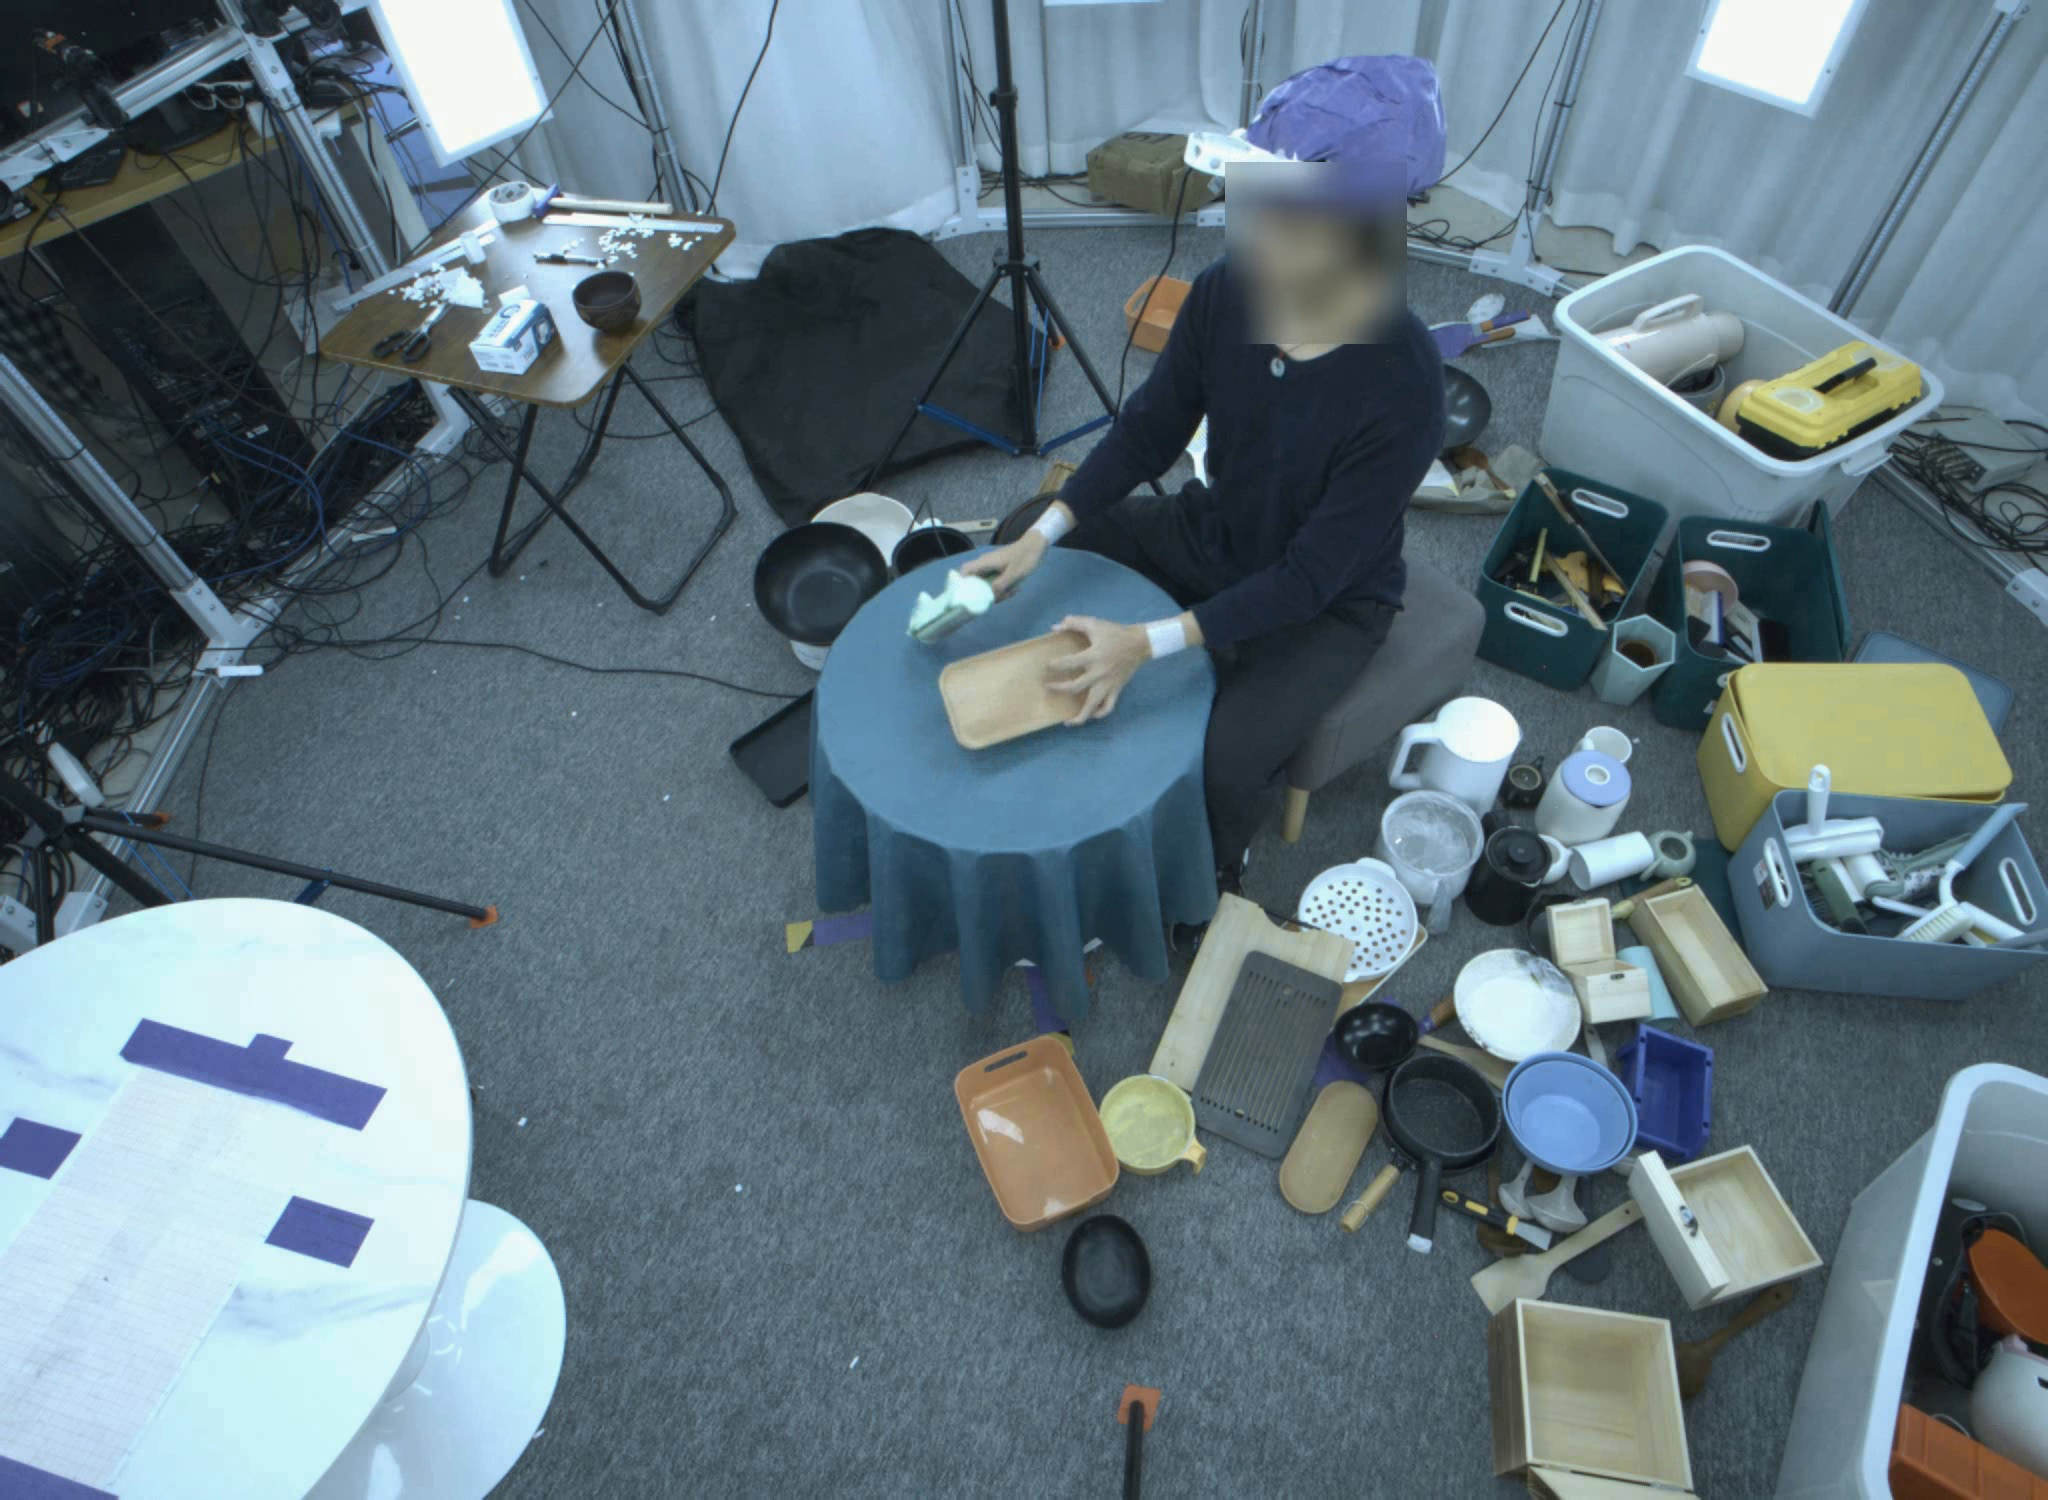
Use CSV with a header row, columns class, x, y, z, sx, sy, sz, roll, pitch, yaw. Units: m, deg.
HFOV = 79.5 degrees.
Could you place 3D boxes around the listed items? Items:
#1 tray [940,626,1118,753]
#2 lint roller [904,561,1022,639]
class,x,y,z,sx,sy,sz,roll,pitch,yaw
tray,0.008,-0.088,1.764,0.253,0.022,0.131,-19,96,-16
lint roller,-0.083,-0.248,1.843,0.184,0.195,0.083,-48,109,-24
